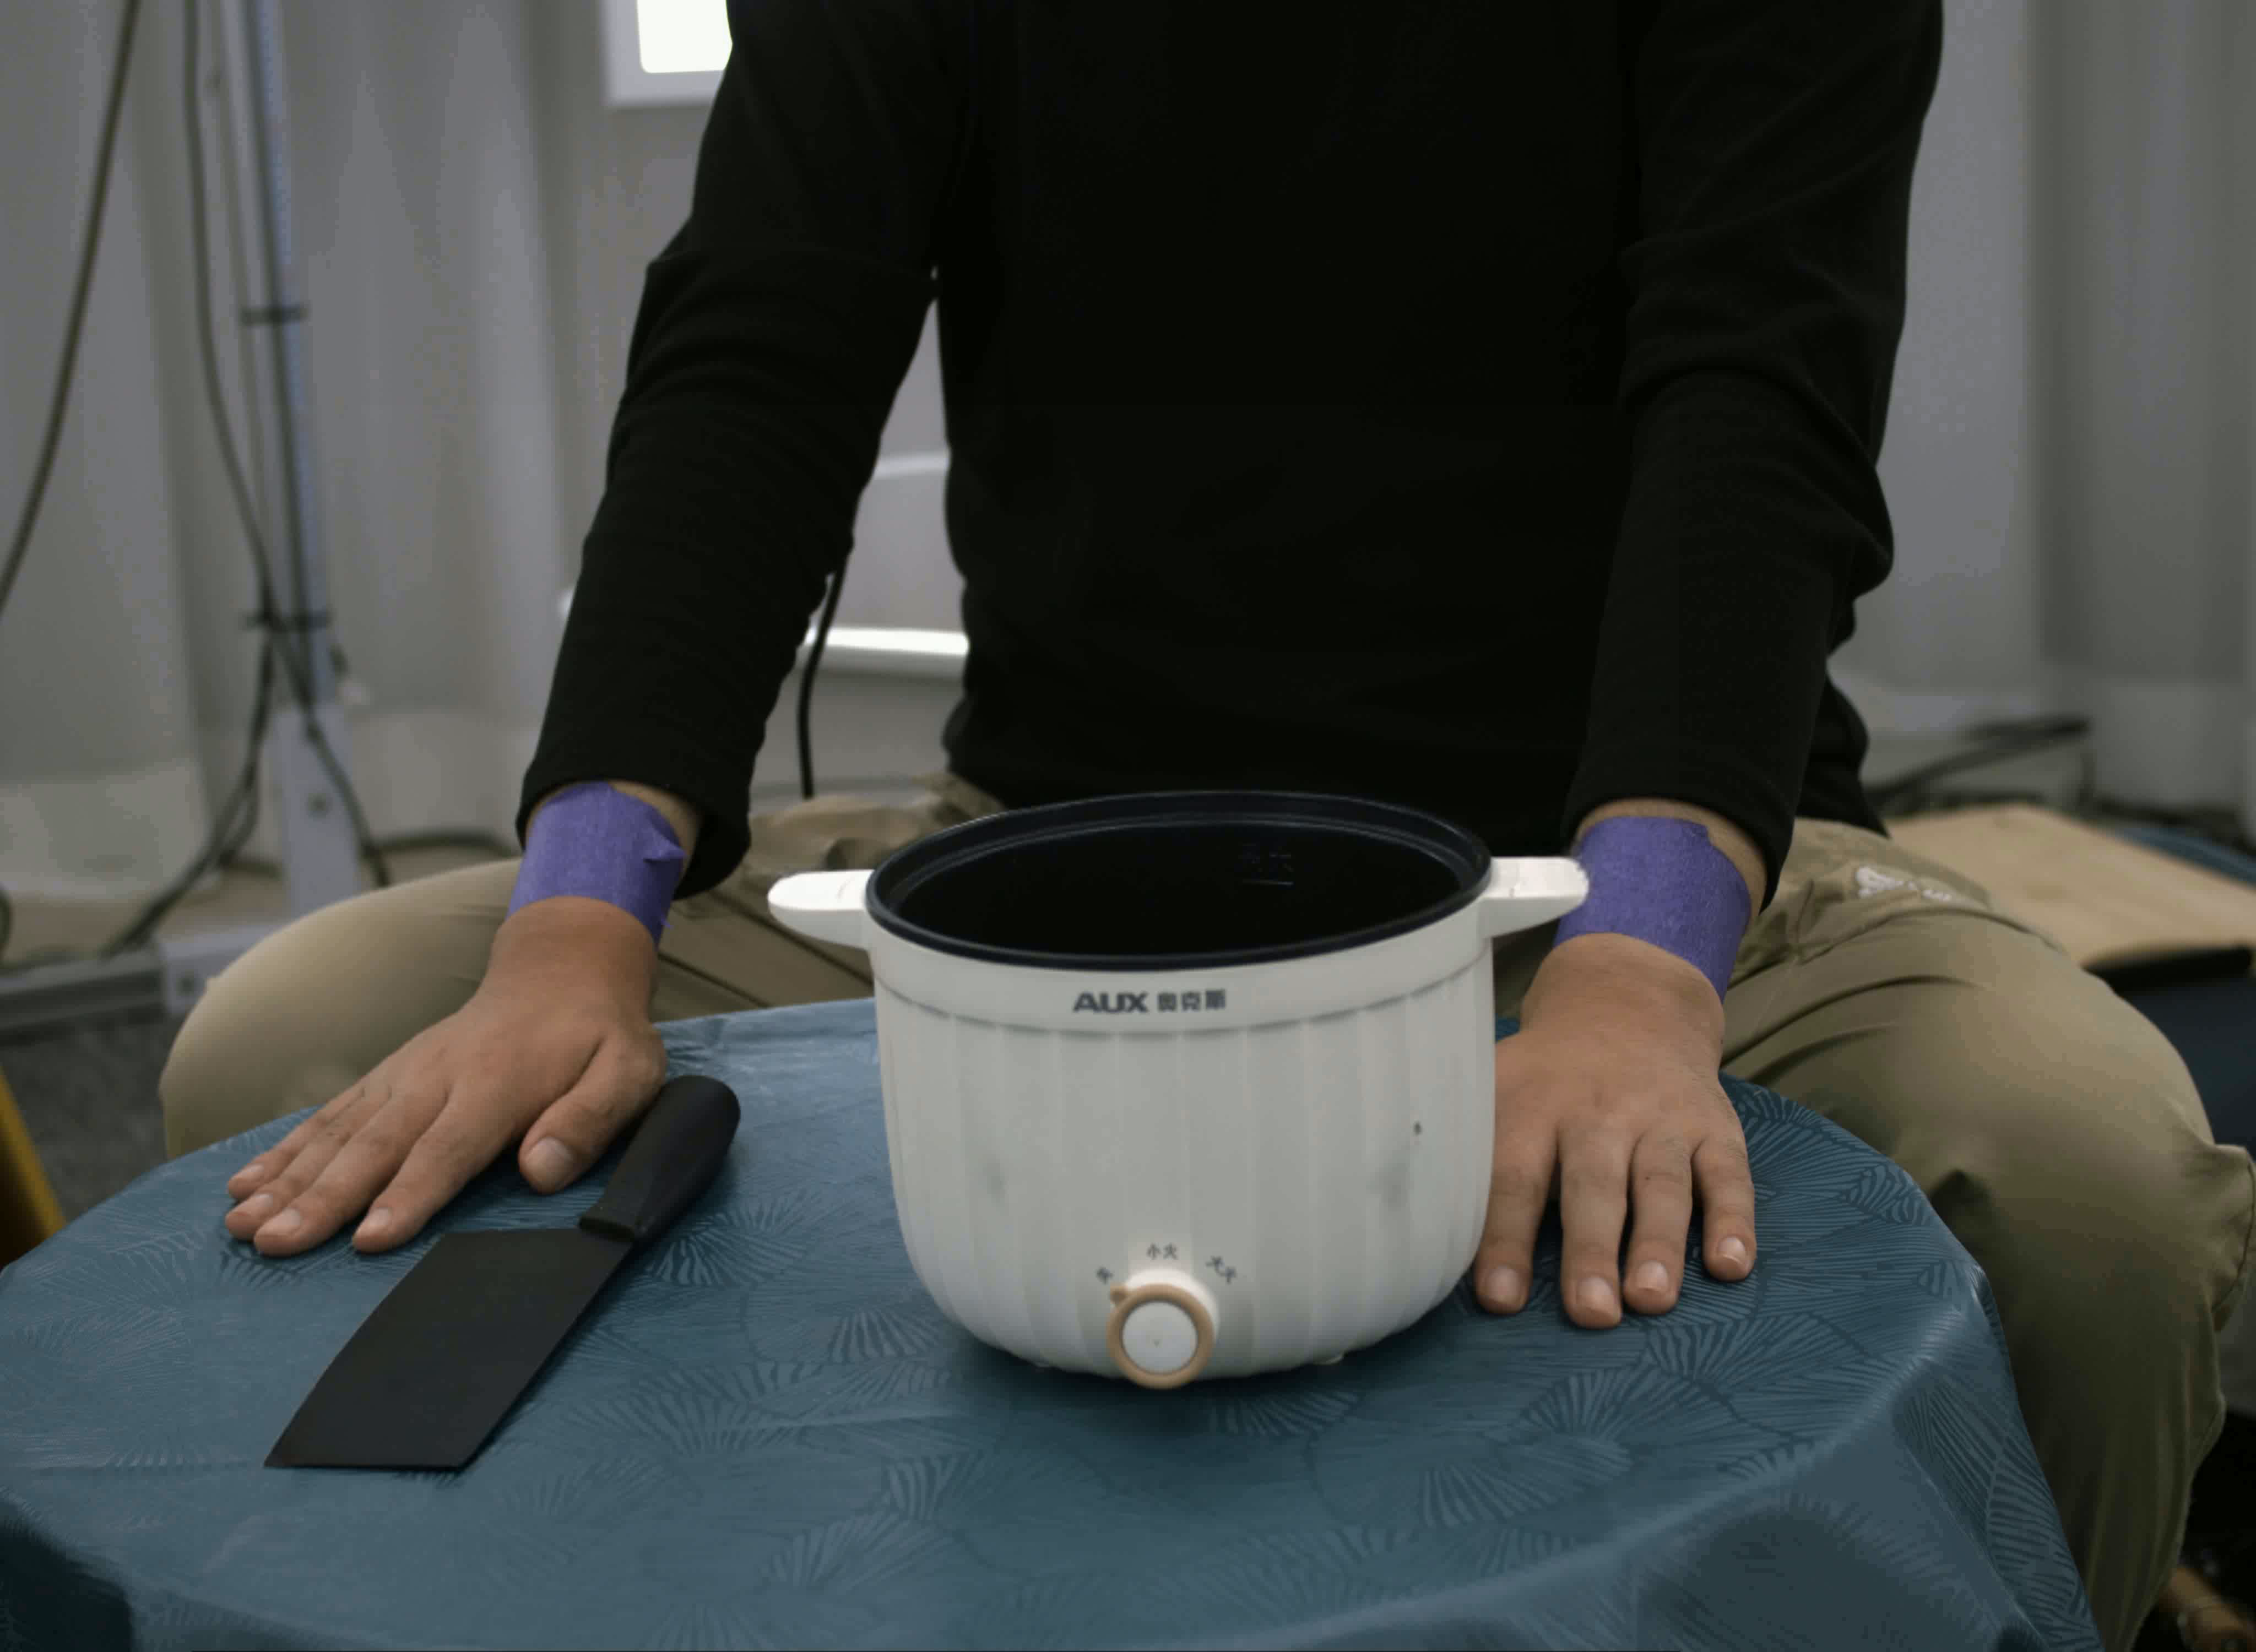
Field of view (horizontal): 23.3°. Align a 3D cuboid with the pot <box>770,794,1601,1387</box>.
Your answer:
[{"bbox_3d":[0.019,0.078,1.581,0.240,0.142,0.191,-2,11,7],"label":"pot"}]

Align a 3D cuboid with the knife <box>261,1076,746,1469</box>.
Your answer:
[{"bbox_3d":[-0.180,0.134,1.652,0.081,0.021,0.304,0,17,17],"label":"knife"}]
